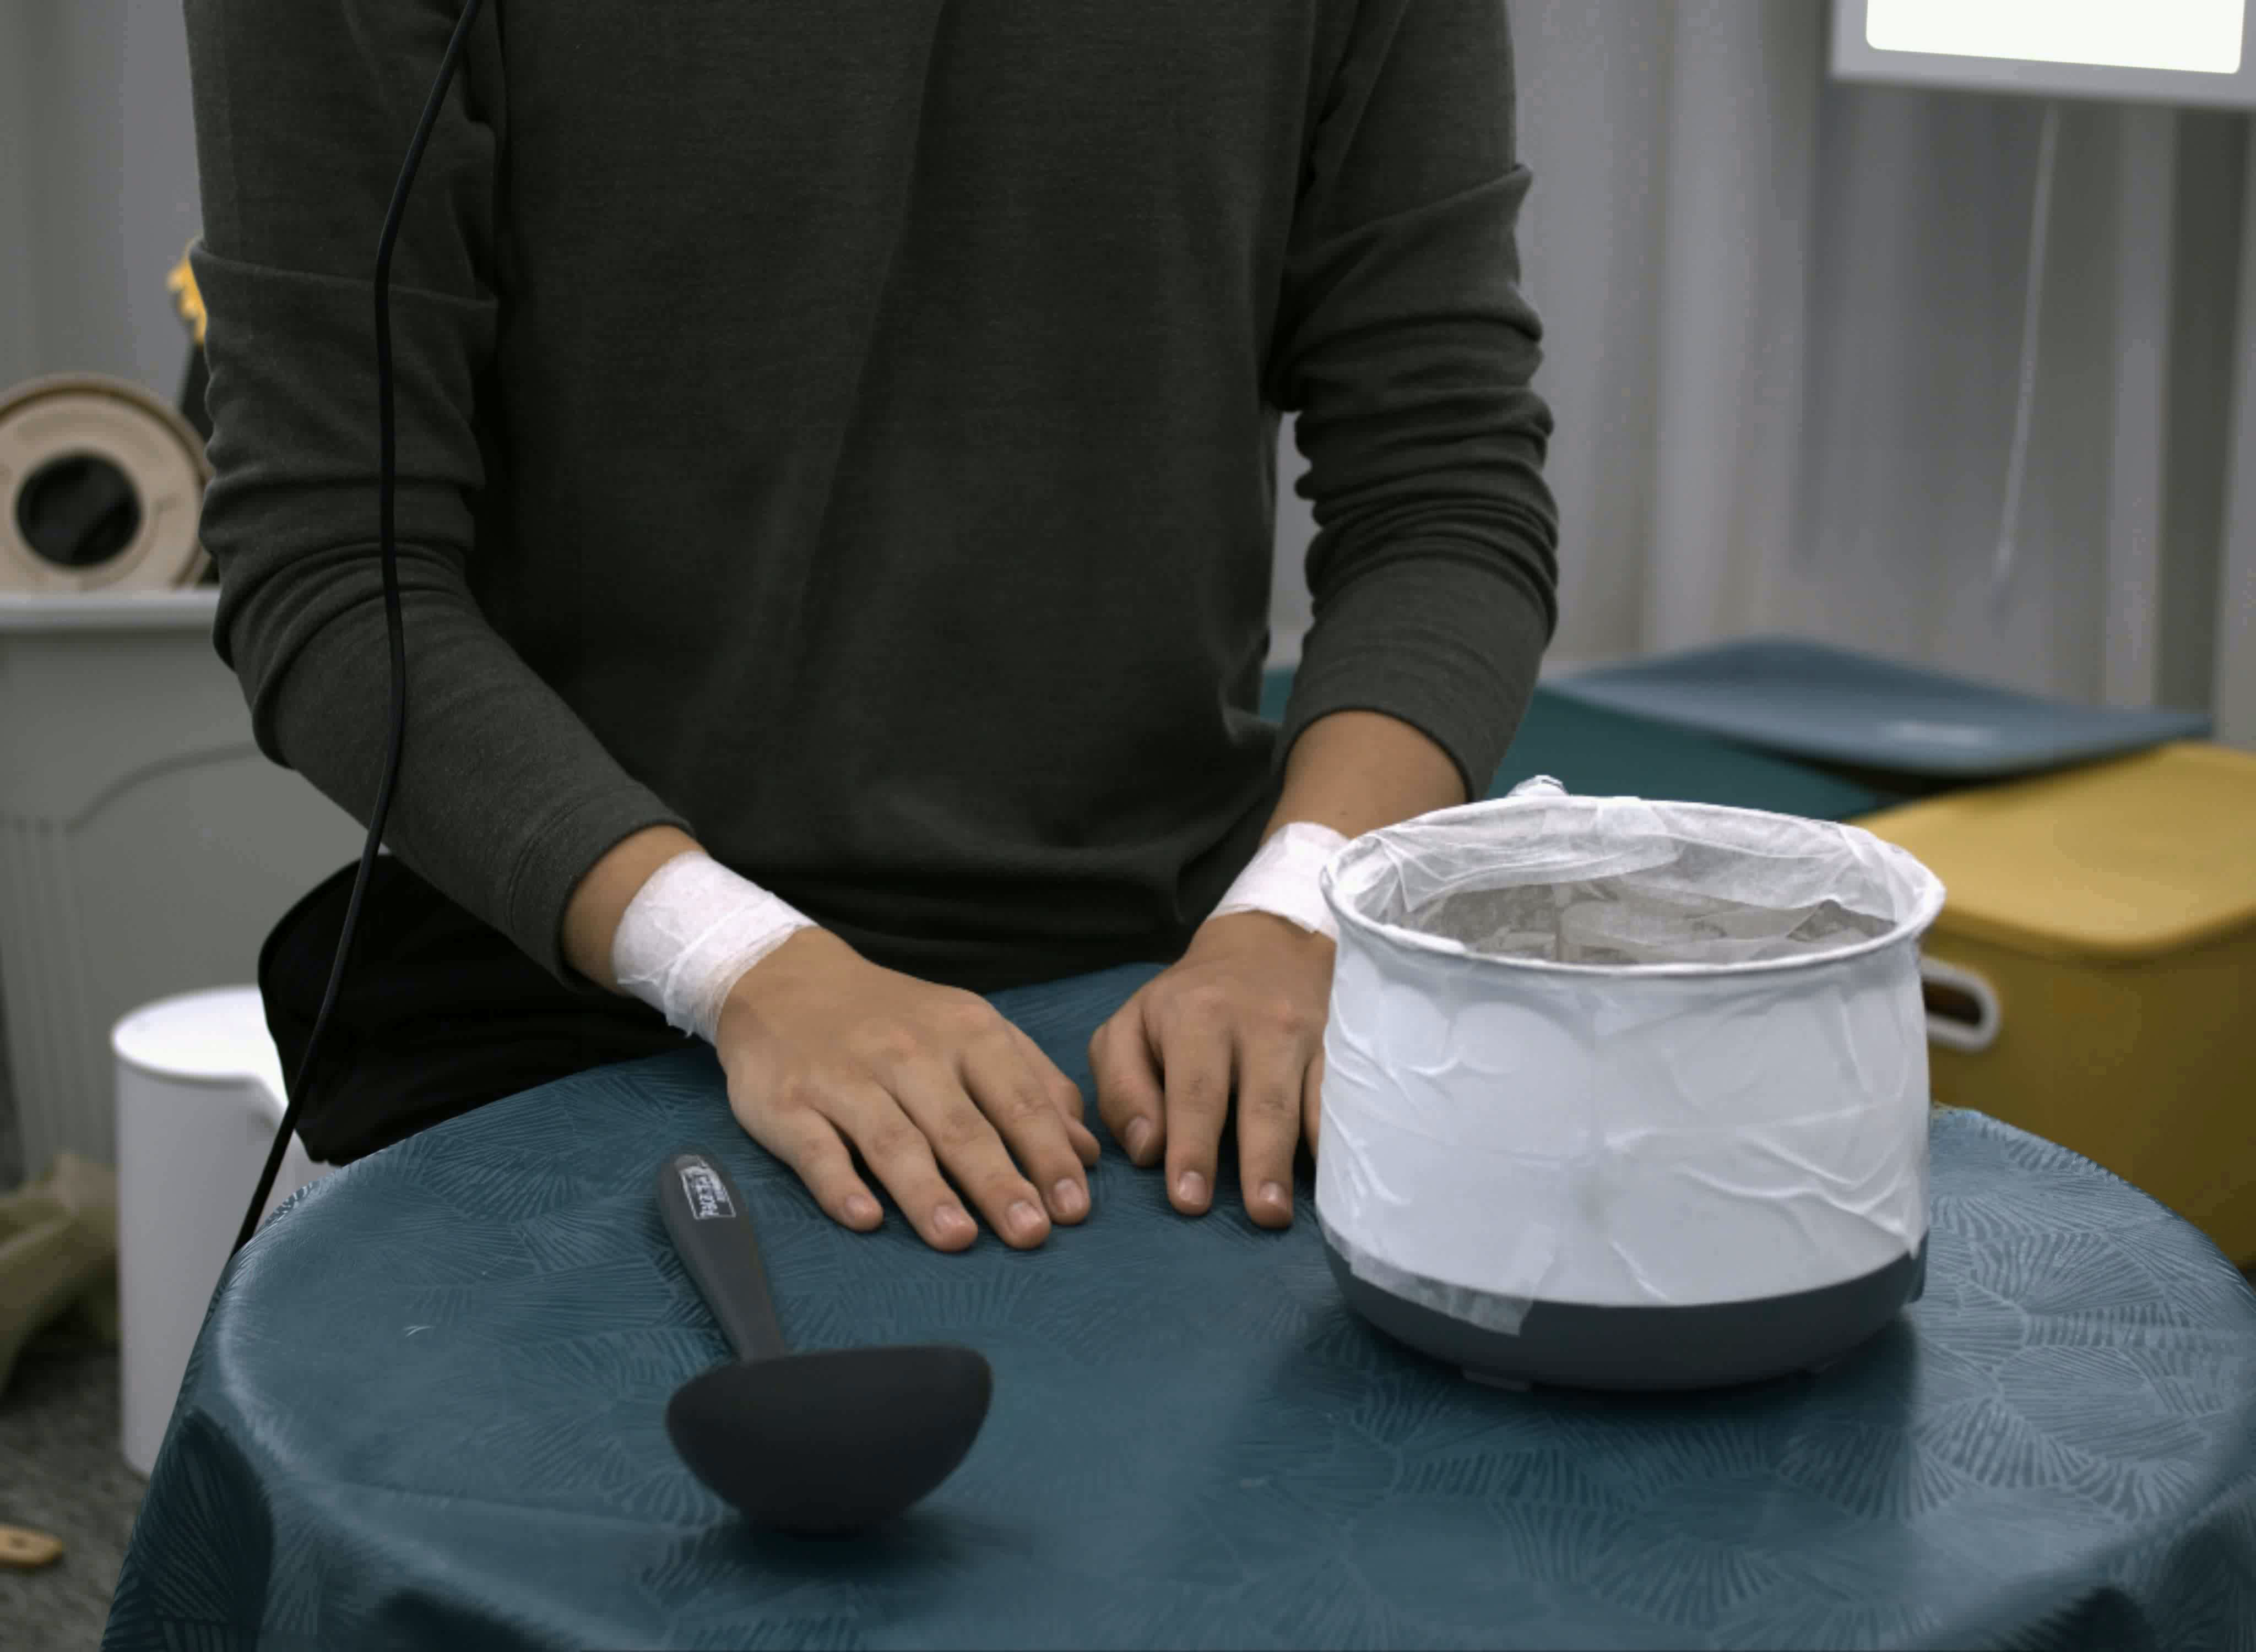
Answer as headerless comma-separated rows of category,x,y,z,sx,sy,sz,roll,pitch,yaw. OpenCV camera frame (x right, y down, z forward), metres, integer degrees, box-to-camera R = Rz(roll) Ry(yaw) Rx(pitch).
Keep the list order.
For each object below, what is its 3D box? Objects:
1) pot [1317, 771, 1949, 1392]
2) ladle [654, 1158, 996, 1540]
pot,0.137,0.068,1.530,0.179,0.138,0.231,-3,16,-12
ladle,-0.103,0.124,1.462,0.086,0.064,0.311,2,15,-13
